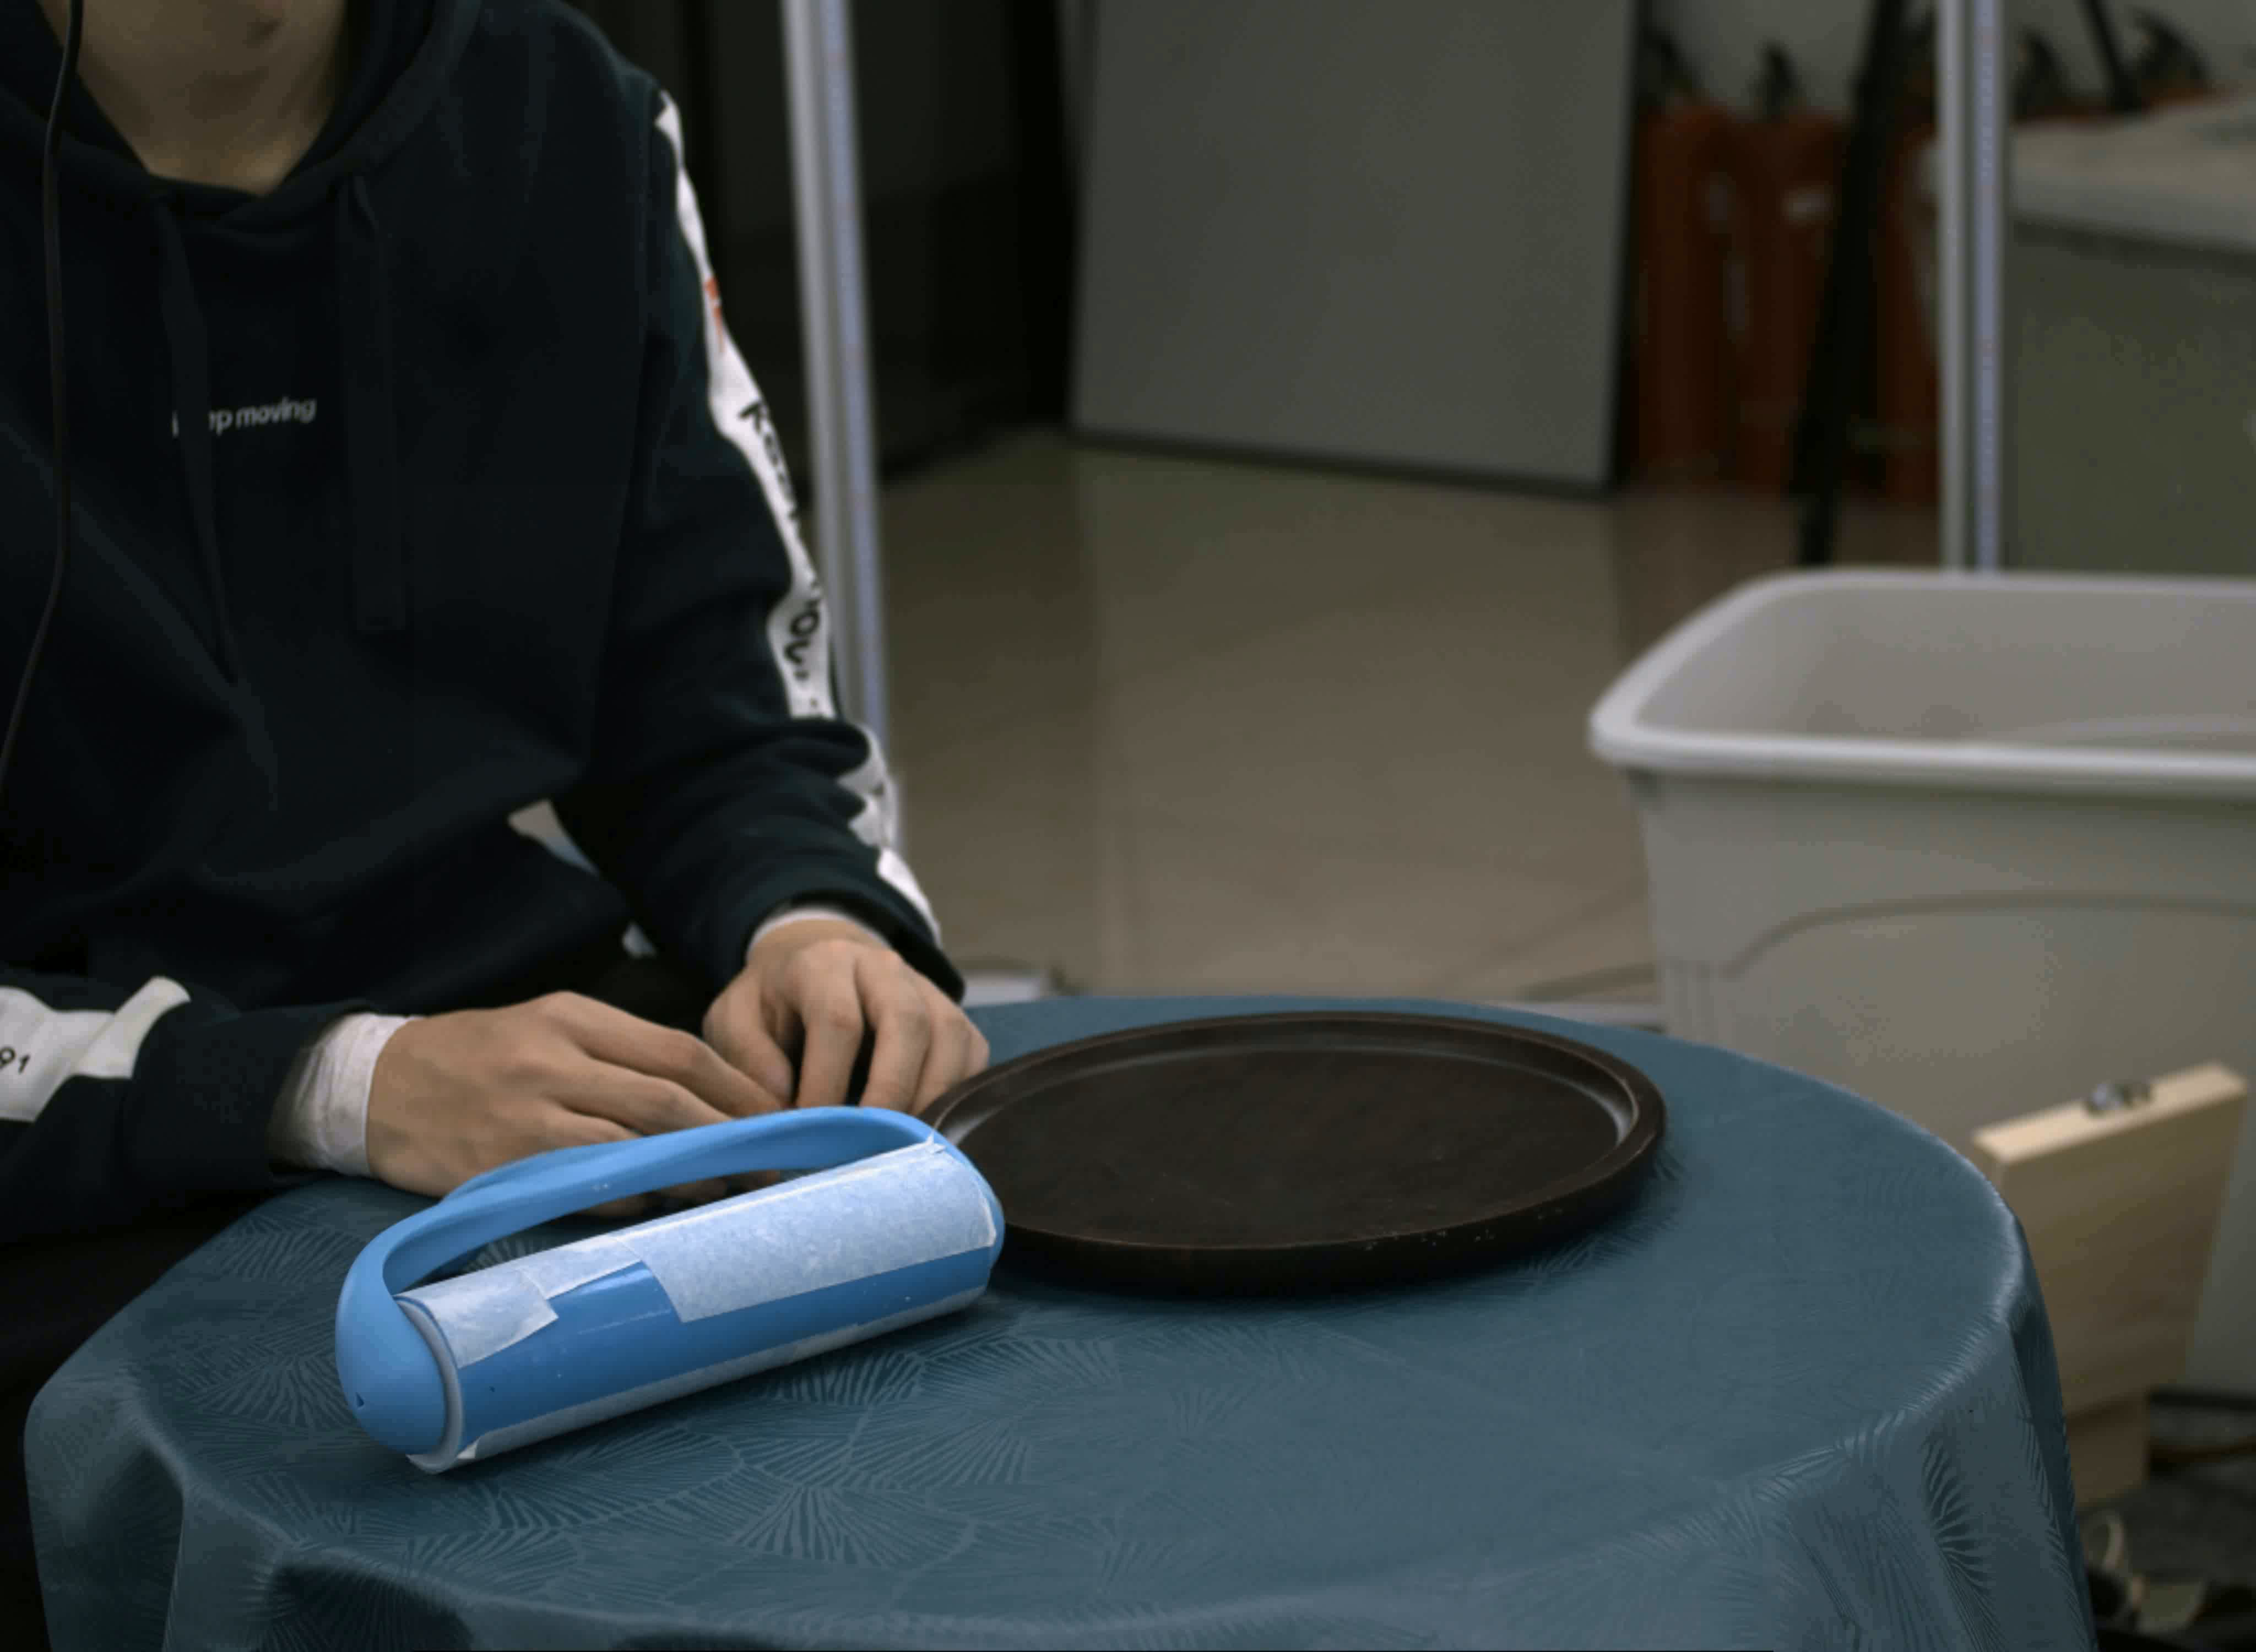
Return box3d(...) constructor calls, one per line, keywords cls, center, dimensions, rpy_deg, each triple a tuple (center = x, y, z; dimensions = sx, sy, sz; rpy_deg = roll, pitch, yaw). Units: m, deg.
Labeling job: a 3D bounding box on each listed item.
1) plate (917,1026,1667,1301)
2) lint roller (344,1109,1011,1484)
box3d(cls="plate", center=(0.051, 0.107, 1.764), dimensions=(0.251, 0.029, 0.255), rpy_deg=(-3, 15, 0))
box3d(cls="lint roller", center=(-0.167, 0.132, 1.655), dimensions=(0.224, 0.068, 0.182), rpy_deg=(-17, 20, -37))
